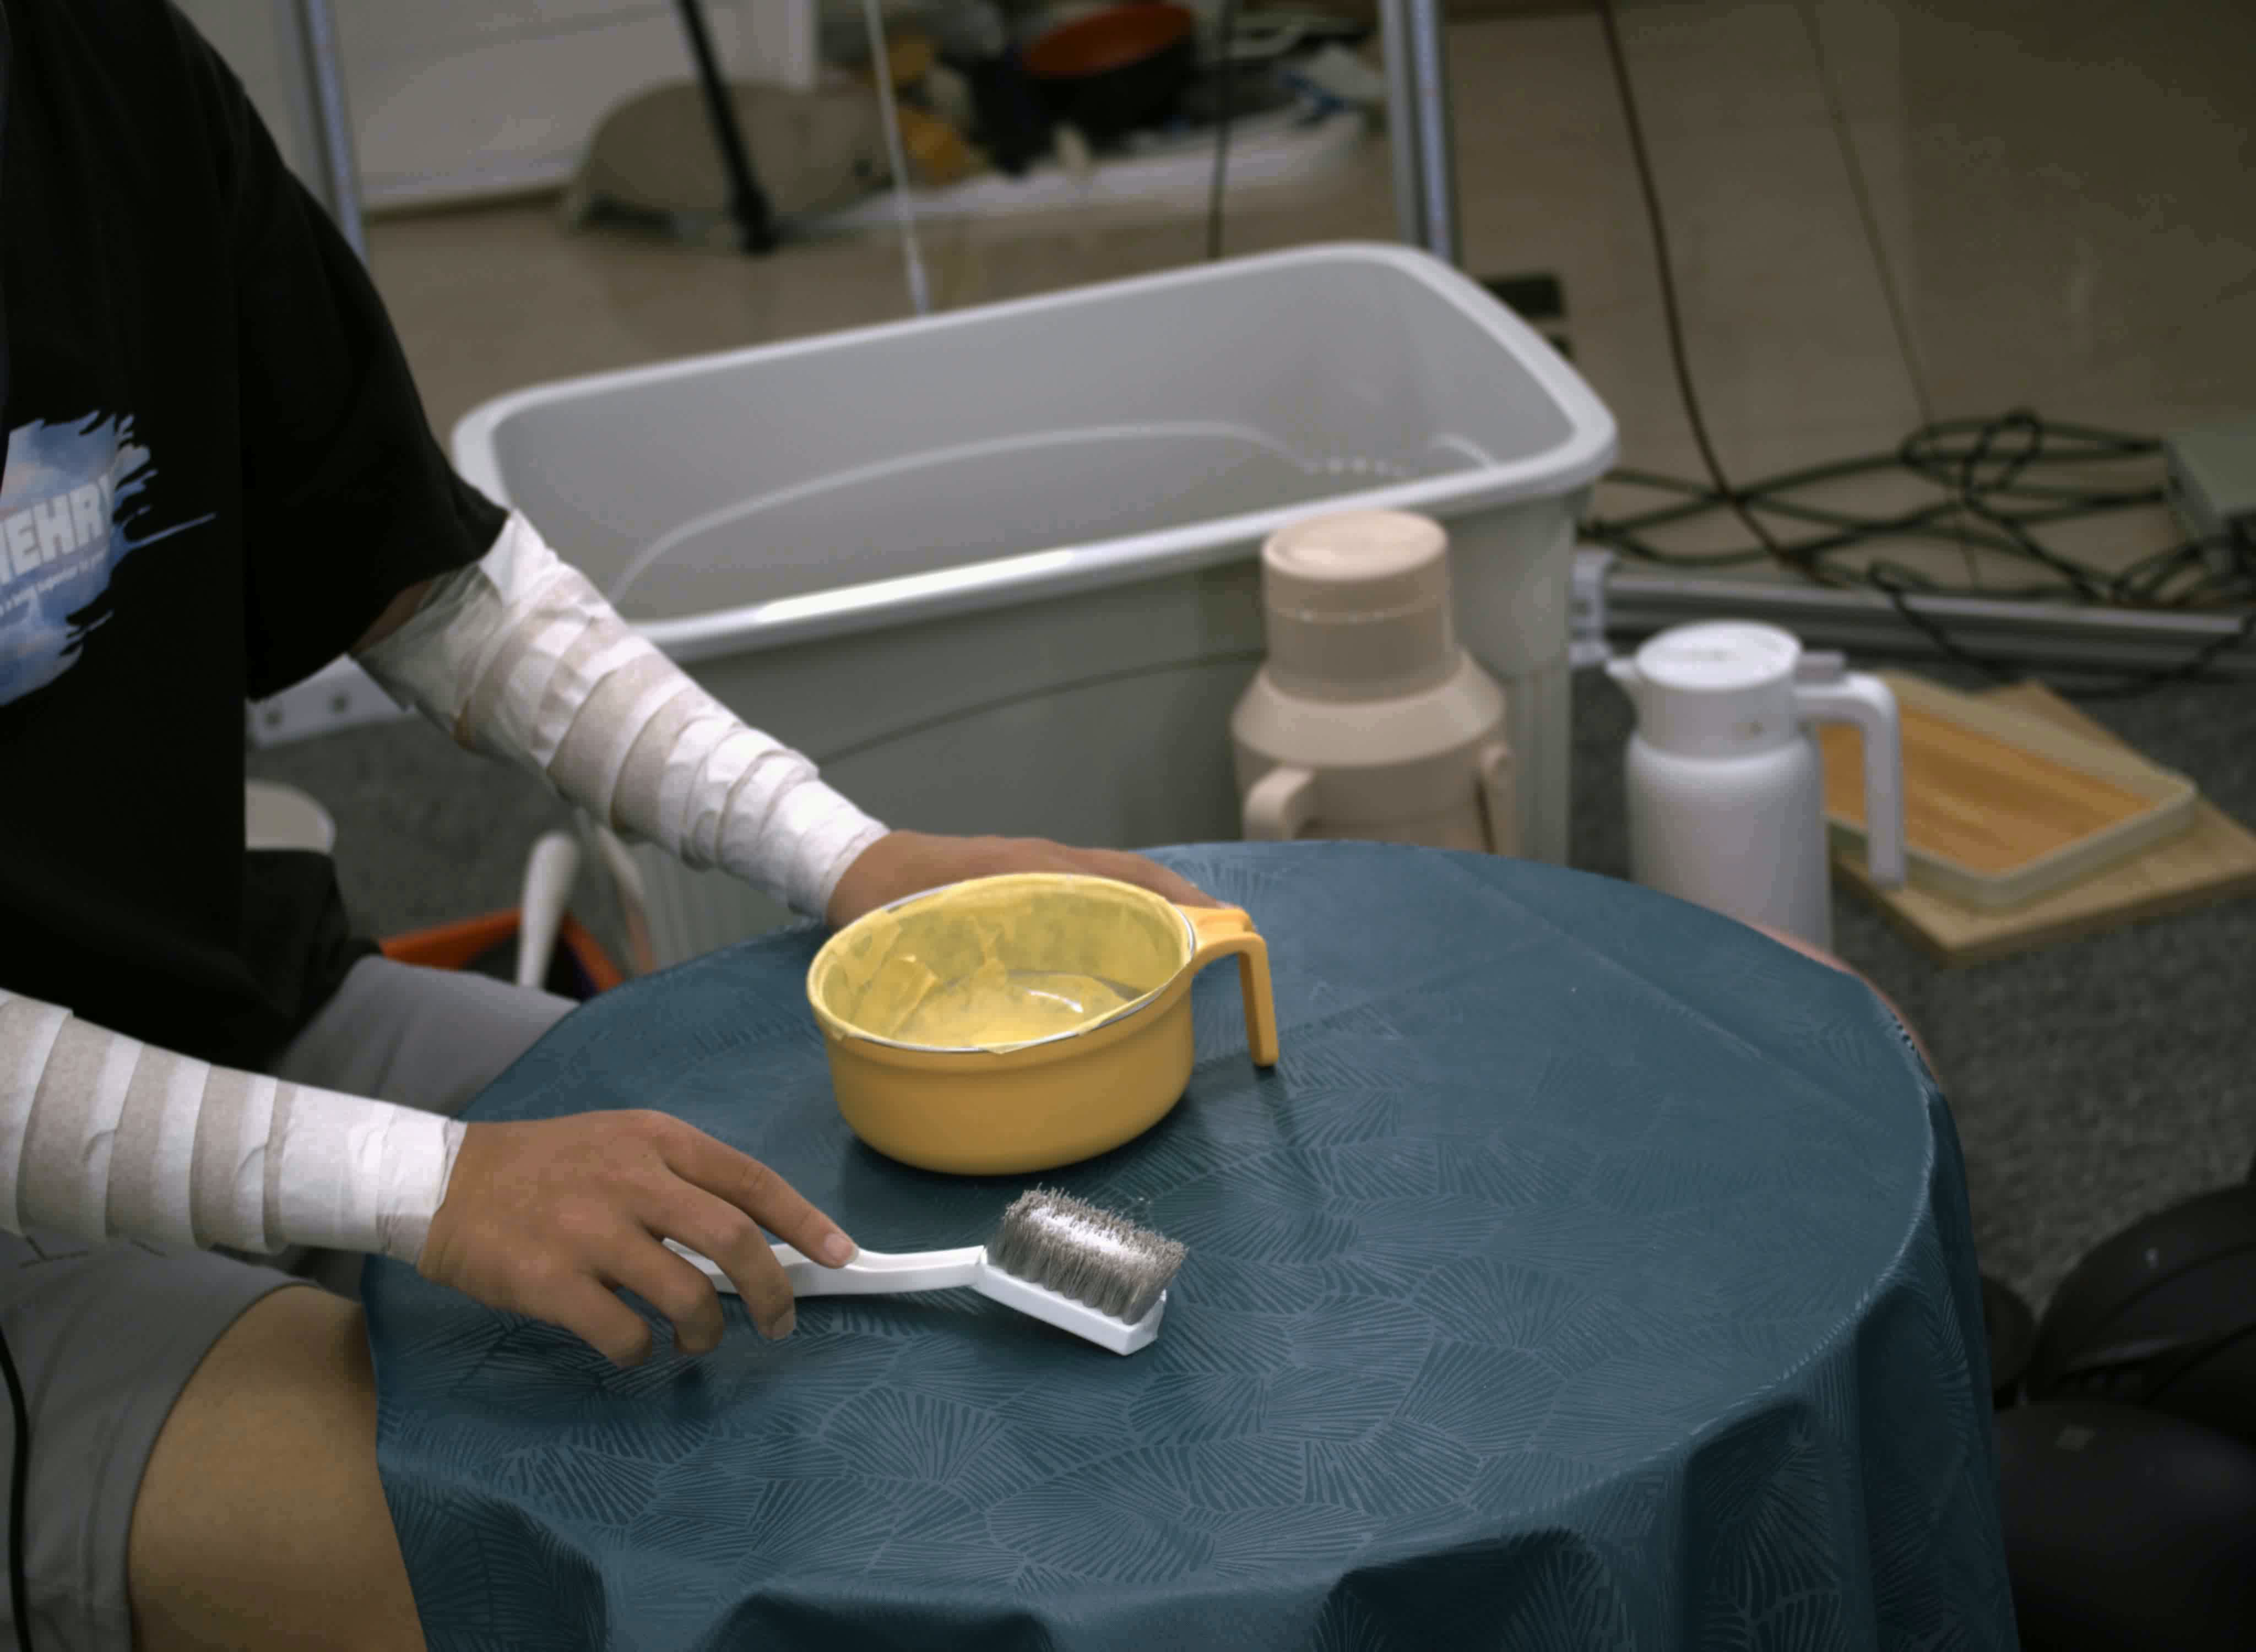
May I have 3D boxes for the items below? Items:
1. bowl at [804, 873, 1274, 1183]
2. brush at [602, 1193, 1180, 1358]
[{"bbox_3d":[-0.033,0.080,2.205,0.179,0.075,0.151,-13,24,-12],"label":"bowl"},{"bbox_3d":[-0.092,0.152,2.084,0.242,0.051,0.034,7,30,28],"label":"brush"}]
